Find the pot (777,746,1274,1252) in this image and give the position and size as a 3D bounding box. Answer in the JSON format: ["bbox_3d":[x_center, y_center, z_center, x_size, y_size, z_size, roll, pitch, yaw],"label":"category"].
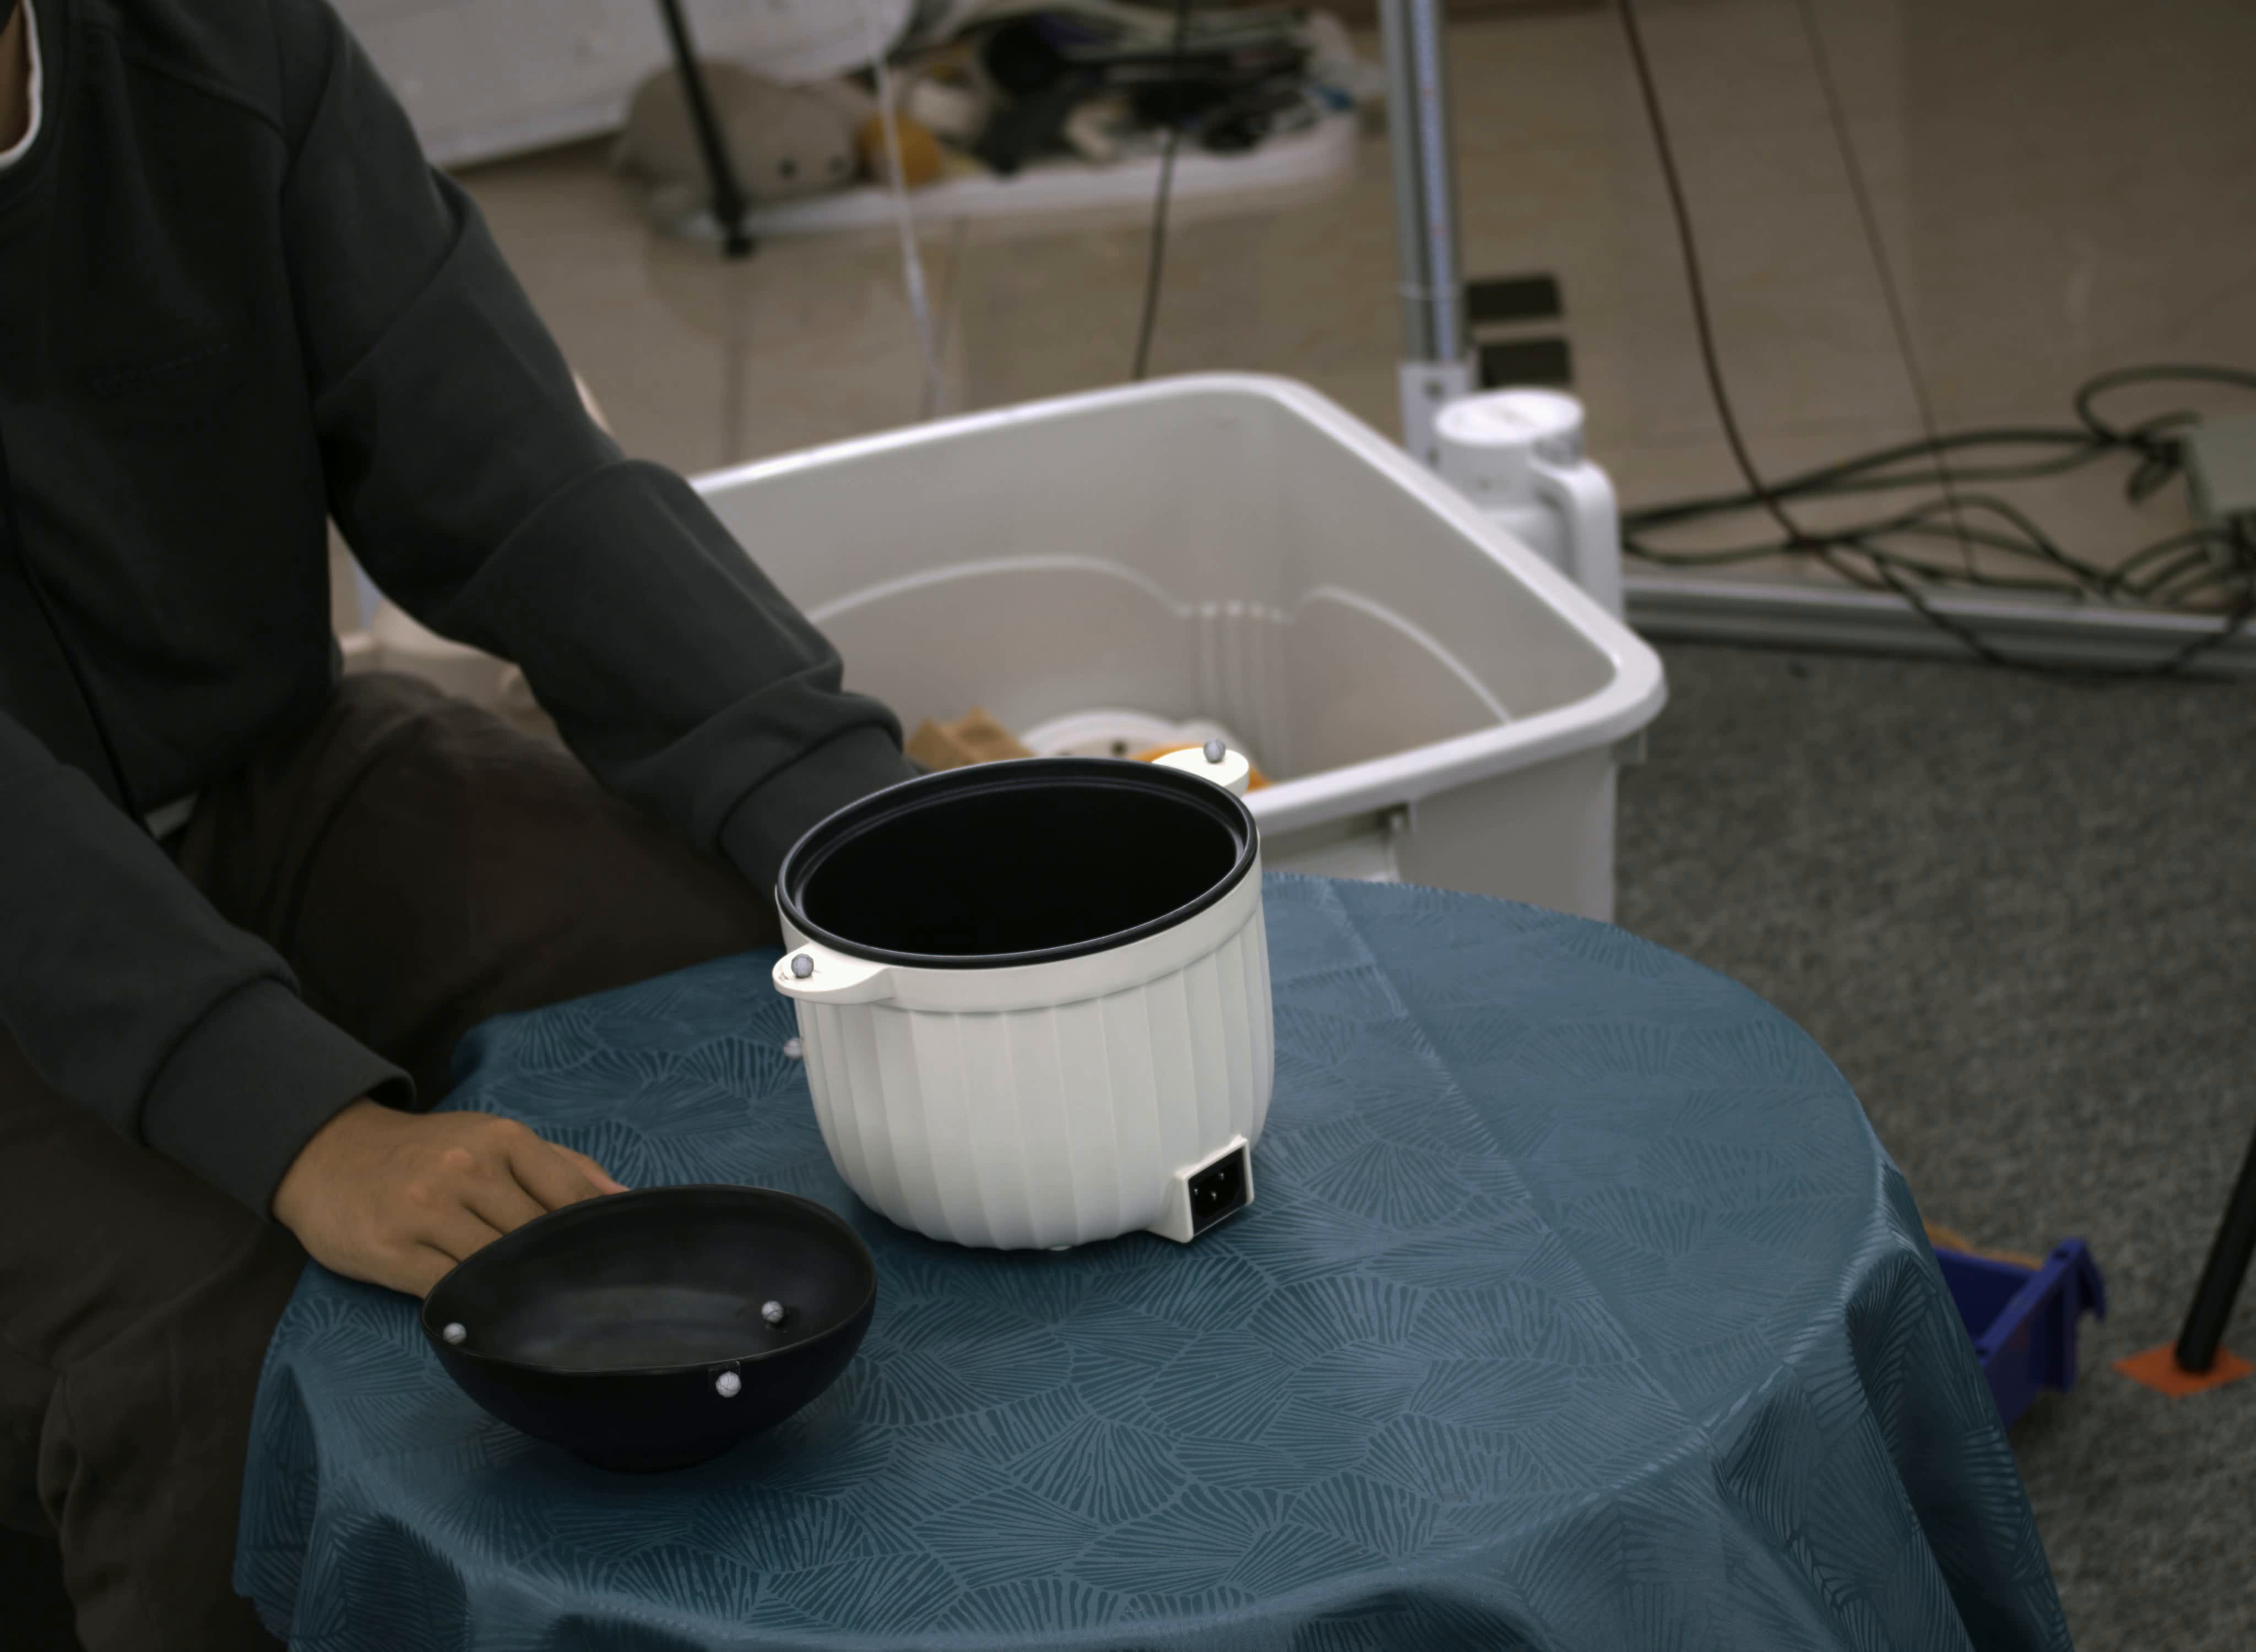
[{"bbox_3d":[-0.039,0.070,2.140,0.189,0.145,0.238,19,34,38],"label":"pot"}]

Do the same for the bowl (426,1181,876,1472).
[{"bbox_3d":[-0.167,0.186,2.010,0.170,0.068,0.135,2,26,21],"label":"bowl"}]
